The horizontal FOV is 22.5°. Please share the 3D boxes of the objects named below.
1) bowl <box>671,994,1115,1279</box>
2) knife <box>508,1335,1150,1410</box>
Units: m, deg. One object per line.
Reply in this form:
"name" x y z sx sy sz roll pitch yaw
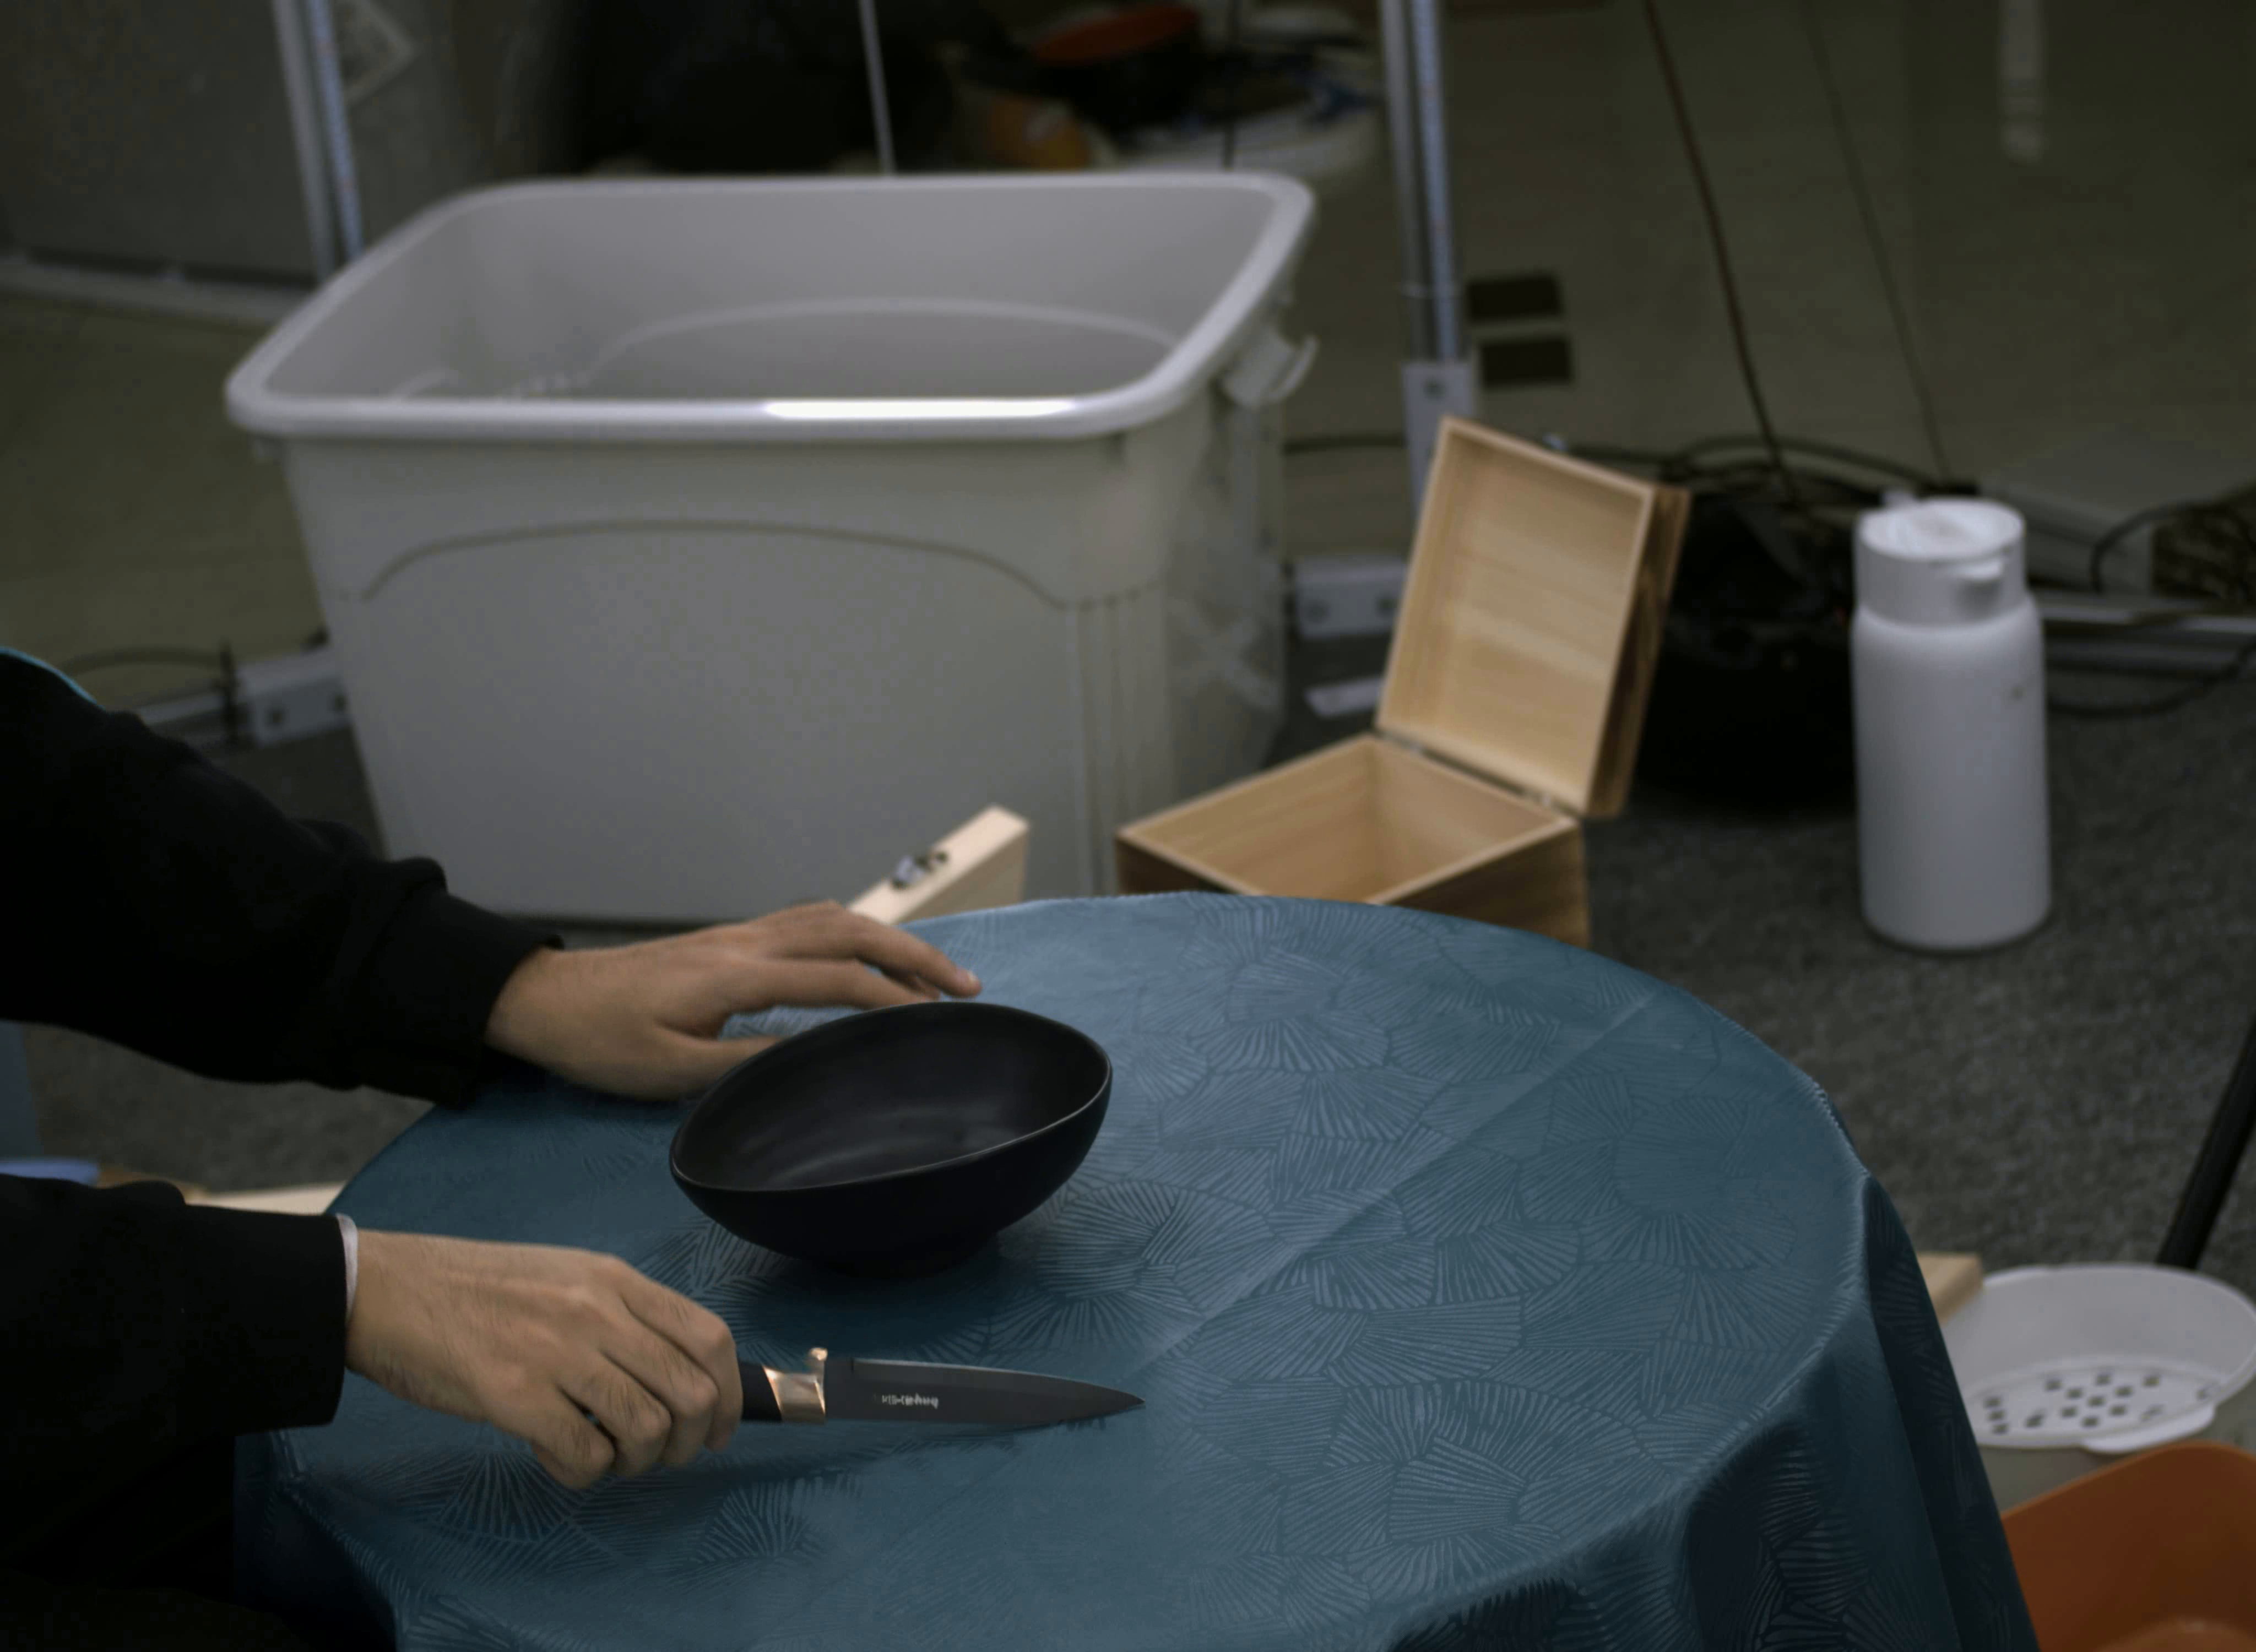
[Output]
"bowl" -0.084 0.126 2.119 0.170 0.068 0.135 -14 26 -11
"knife" -0.104 0.192 1.990 0.225 0.026 0.017 2 -7 -6
